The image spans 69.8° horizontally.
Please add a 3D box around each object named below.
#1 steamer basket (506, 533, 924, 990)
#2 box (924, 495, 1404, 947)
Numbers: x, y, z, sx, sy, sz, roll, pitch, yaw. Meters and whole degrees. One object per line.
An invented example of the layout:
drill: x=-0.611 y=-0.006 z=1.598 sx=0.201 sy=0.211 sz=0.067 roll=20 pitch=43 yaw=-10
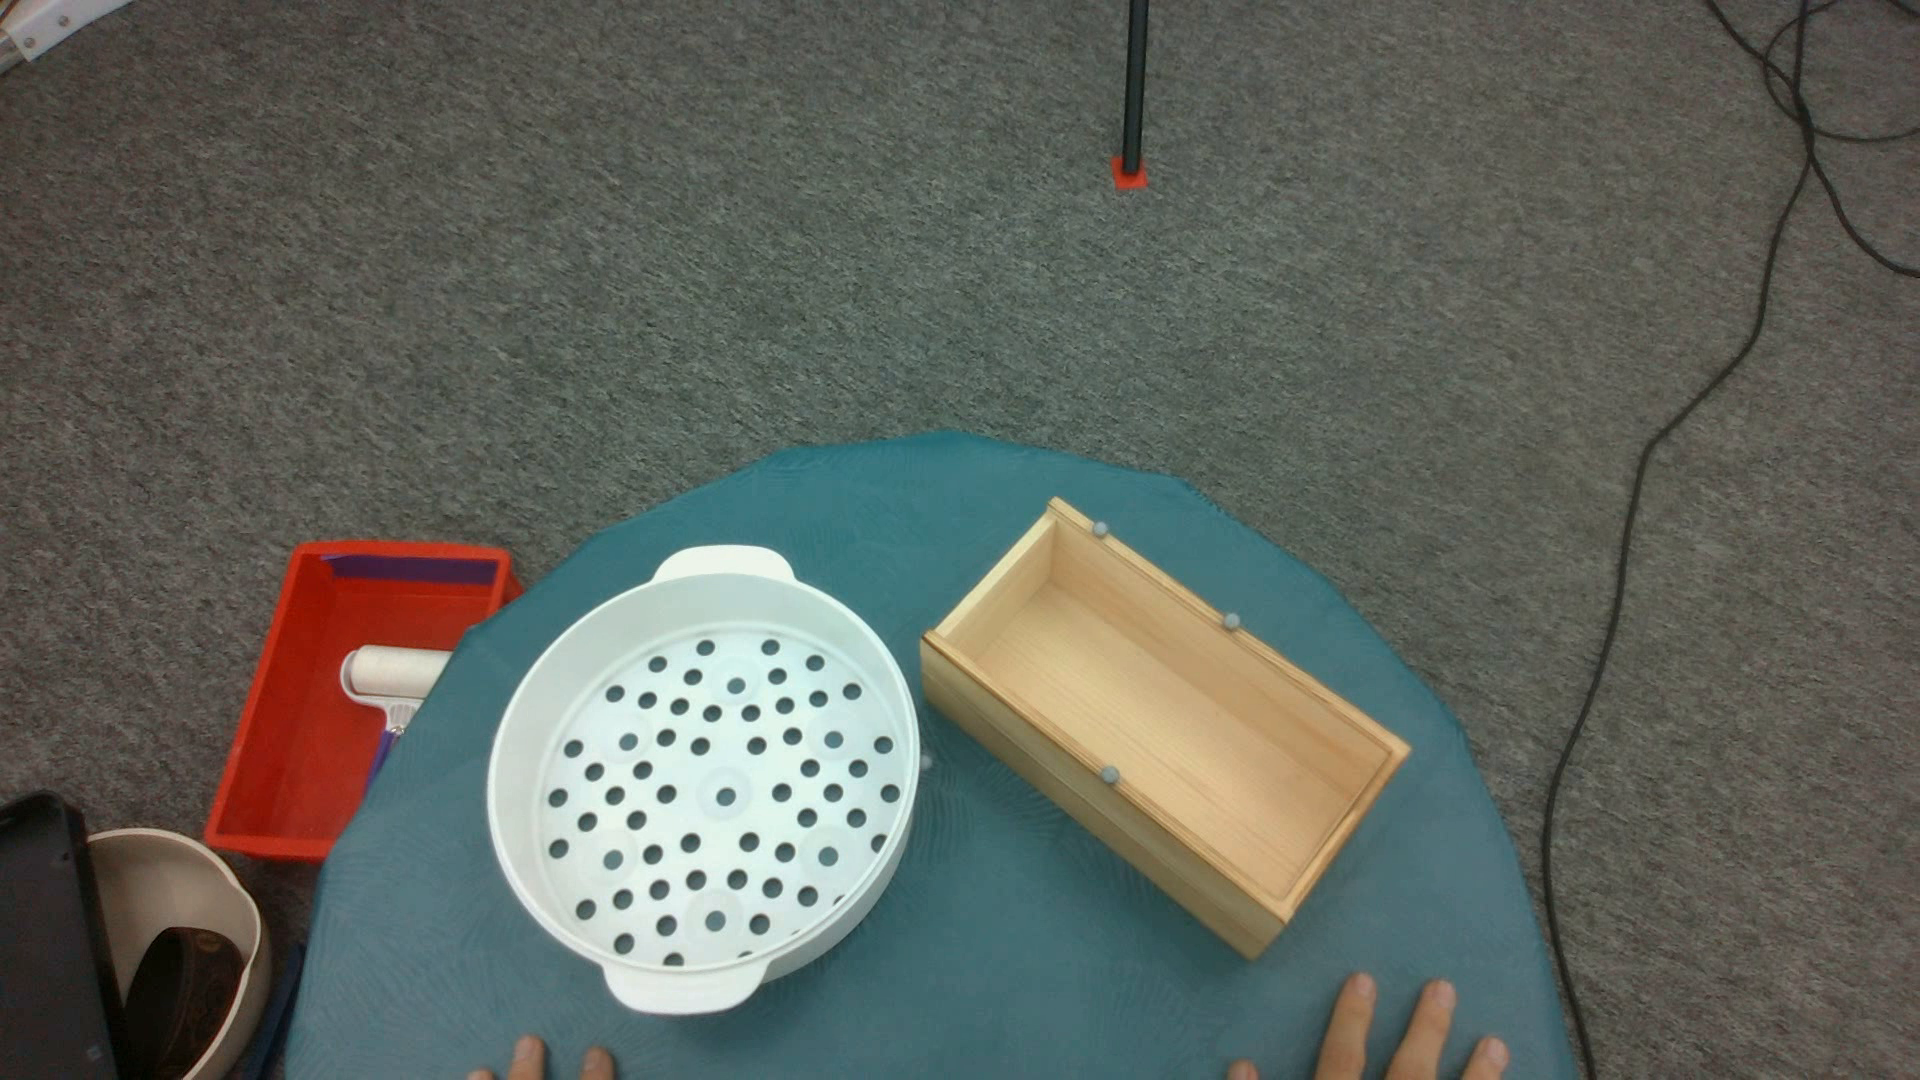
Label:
steamer basket: x=-0.118 y=0.111 z=0.691 sx=0.202 sy=0.069 sz=0.231 roll=0 pitch=62 yaw=1
box: x=0.097 y=0.089 z=0.695 sx=0.211 sy=0.080 sz=0.108 roll=36 pitch=68 yaw=19
